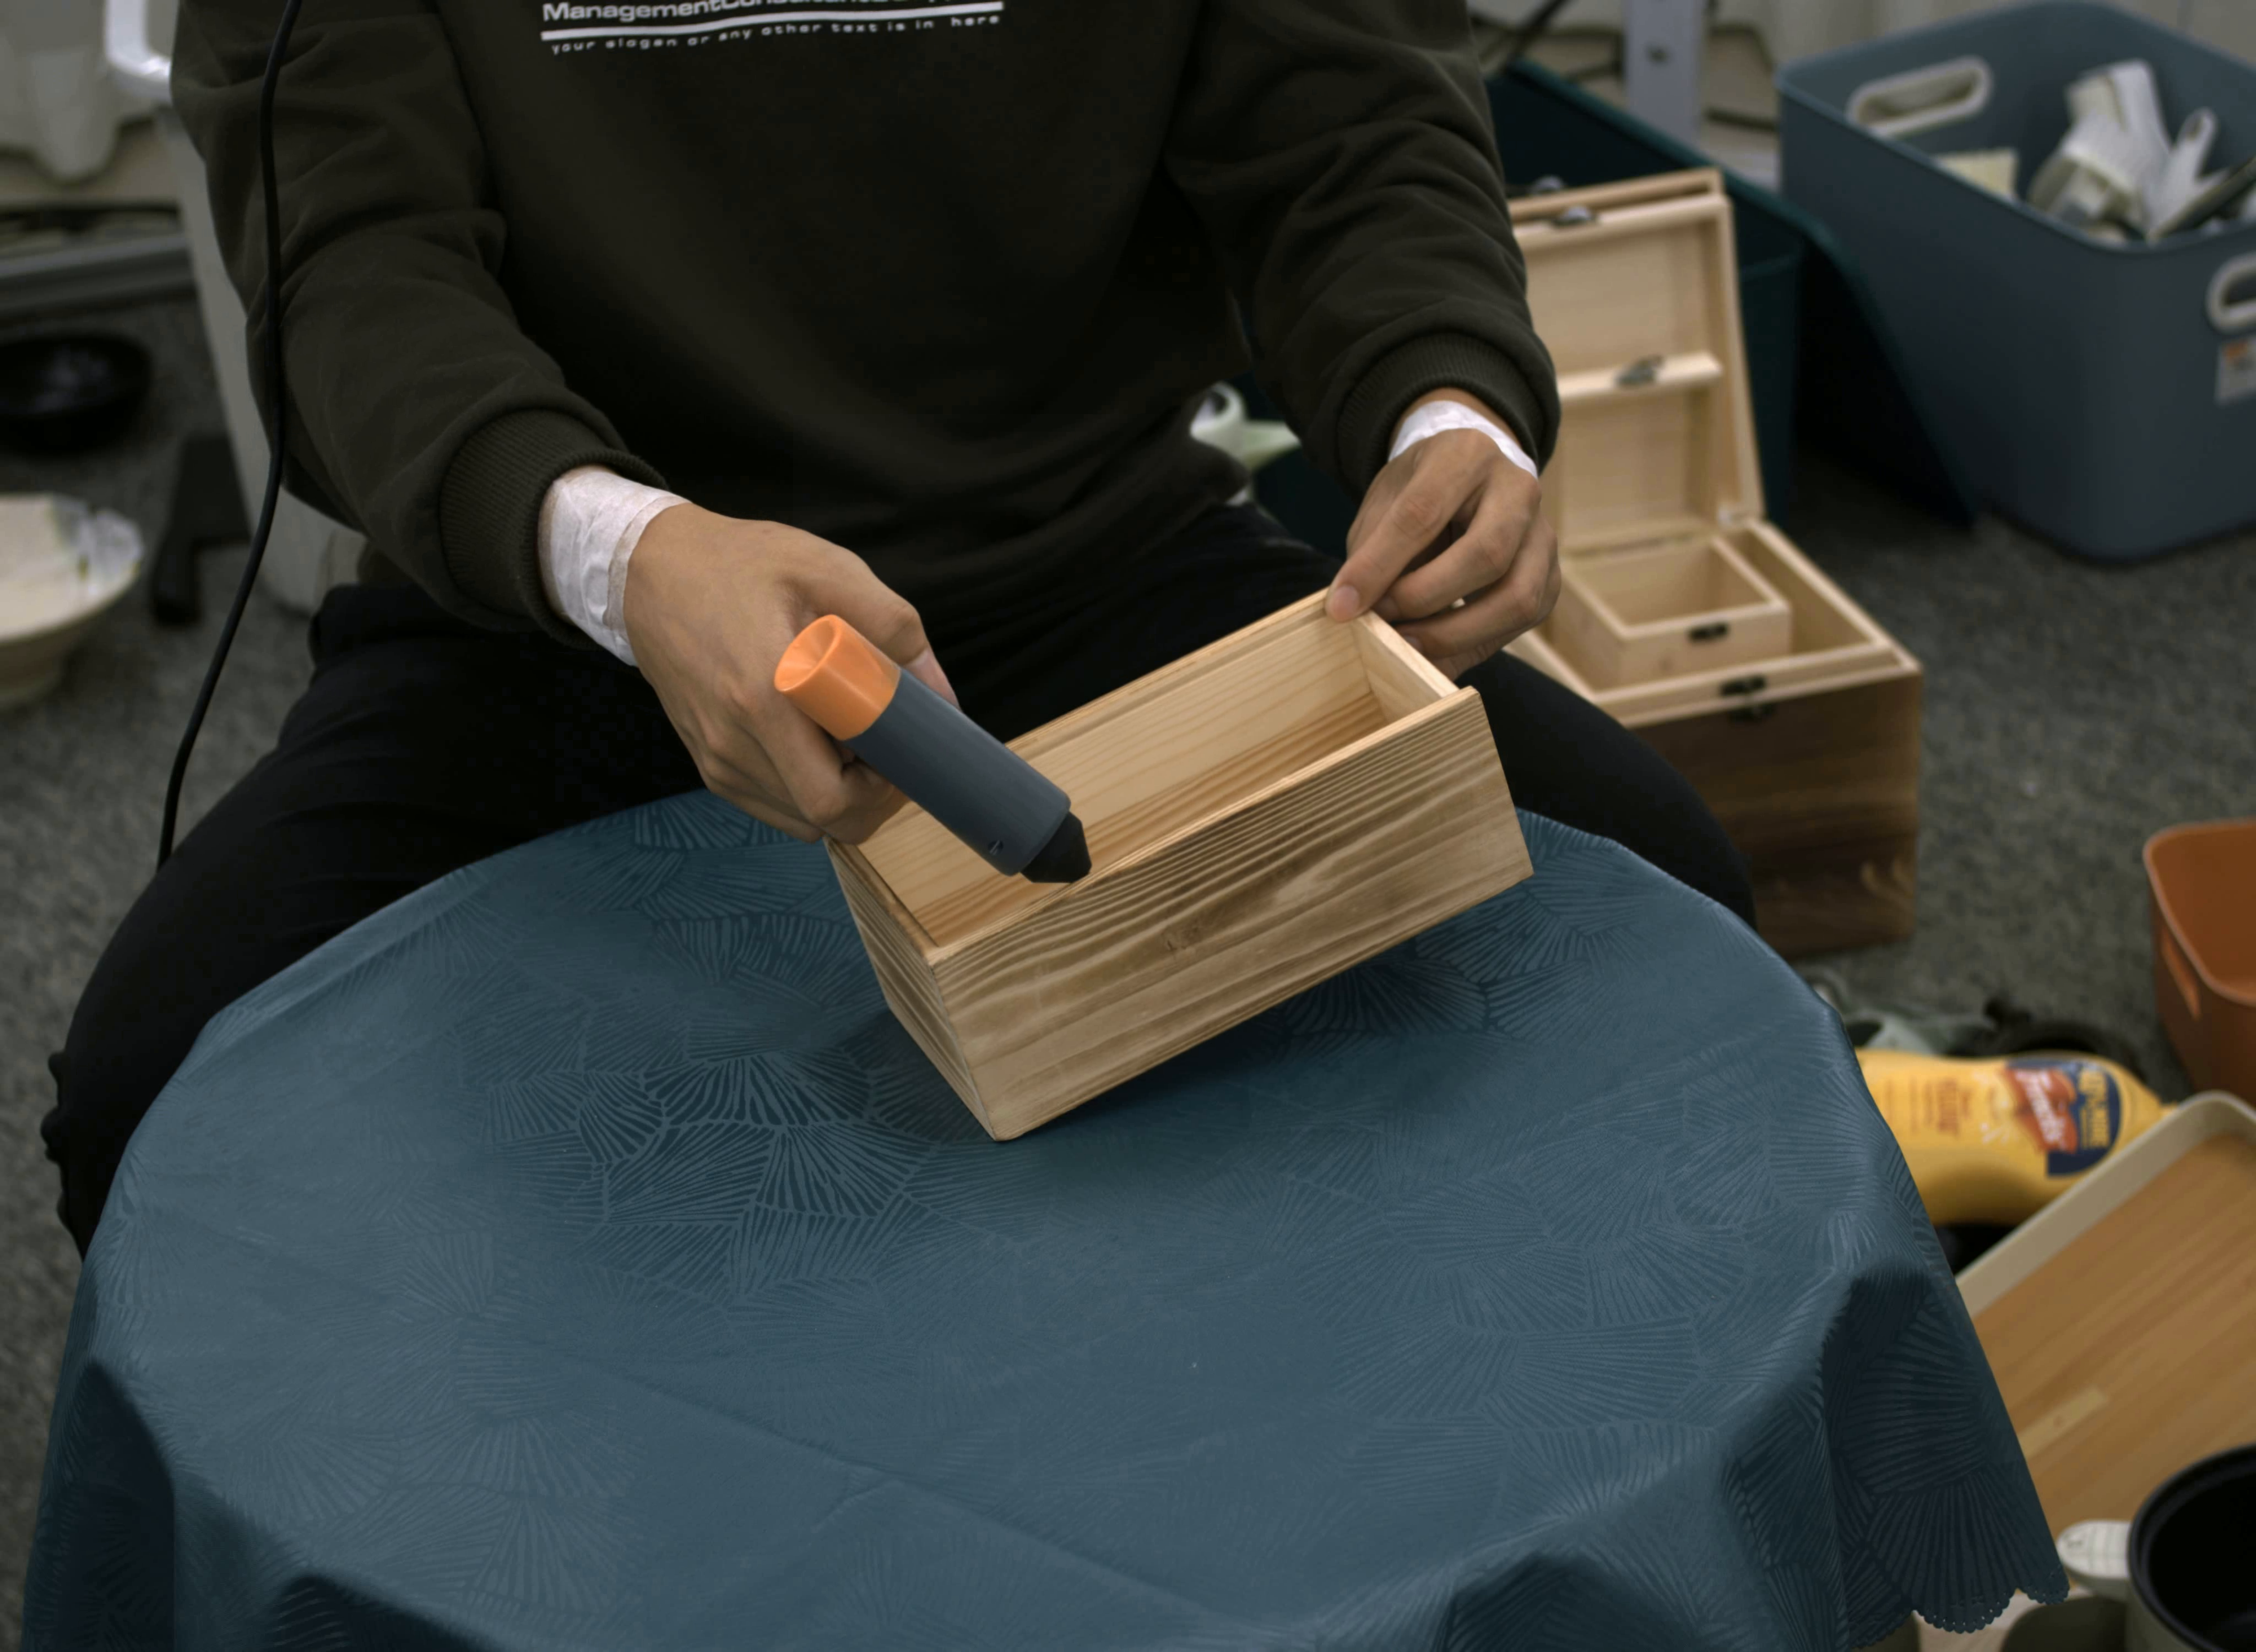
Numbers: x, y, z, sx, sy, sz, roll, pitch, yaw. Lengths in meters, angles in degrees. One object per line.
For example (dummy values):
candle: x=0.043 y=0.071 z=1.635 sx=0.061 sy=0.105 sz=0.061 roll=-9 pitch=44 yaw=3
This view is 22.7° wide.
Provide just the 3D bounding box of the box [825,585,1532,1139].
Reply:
box: x=0.017 y=0.010 z=1.944 sx=0.212 sy=0.079 sz=0.108 roll=-26 pitch=31 yaw=-13

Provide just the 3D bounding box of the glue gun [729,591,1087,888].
glue gun: x=-0.077 y=-0.030 z=1.910 sx=0.041 sy=0.117 sz=0.140 roll=-51 pitch=26 yaw=-3
